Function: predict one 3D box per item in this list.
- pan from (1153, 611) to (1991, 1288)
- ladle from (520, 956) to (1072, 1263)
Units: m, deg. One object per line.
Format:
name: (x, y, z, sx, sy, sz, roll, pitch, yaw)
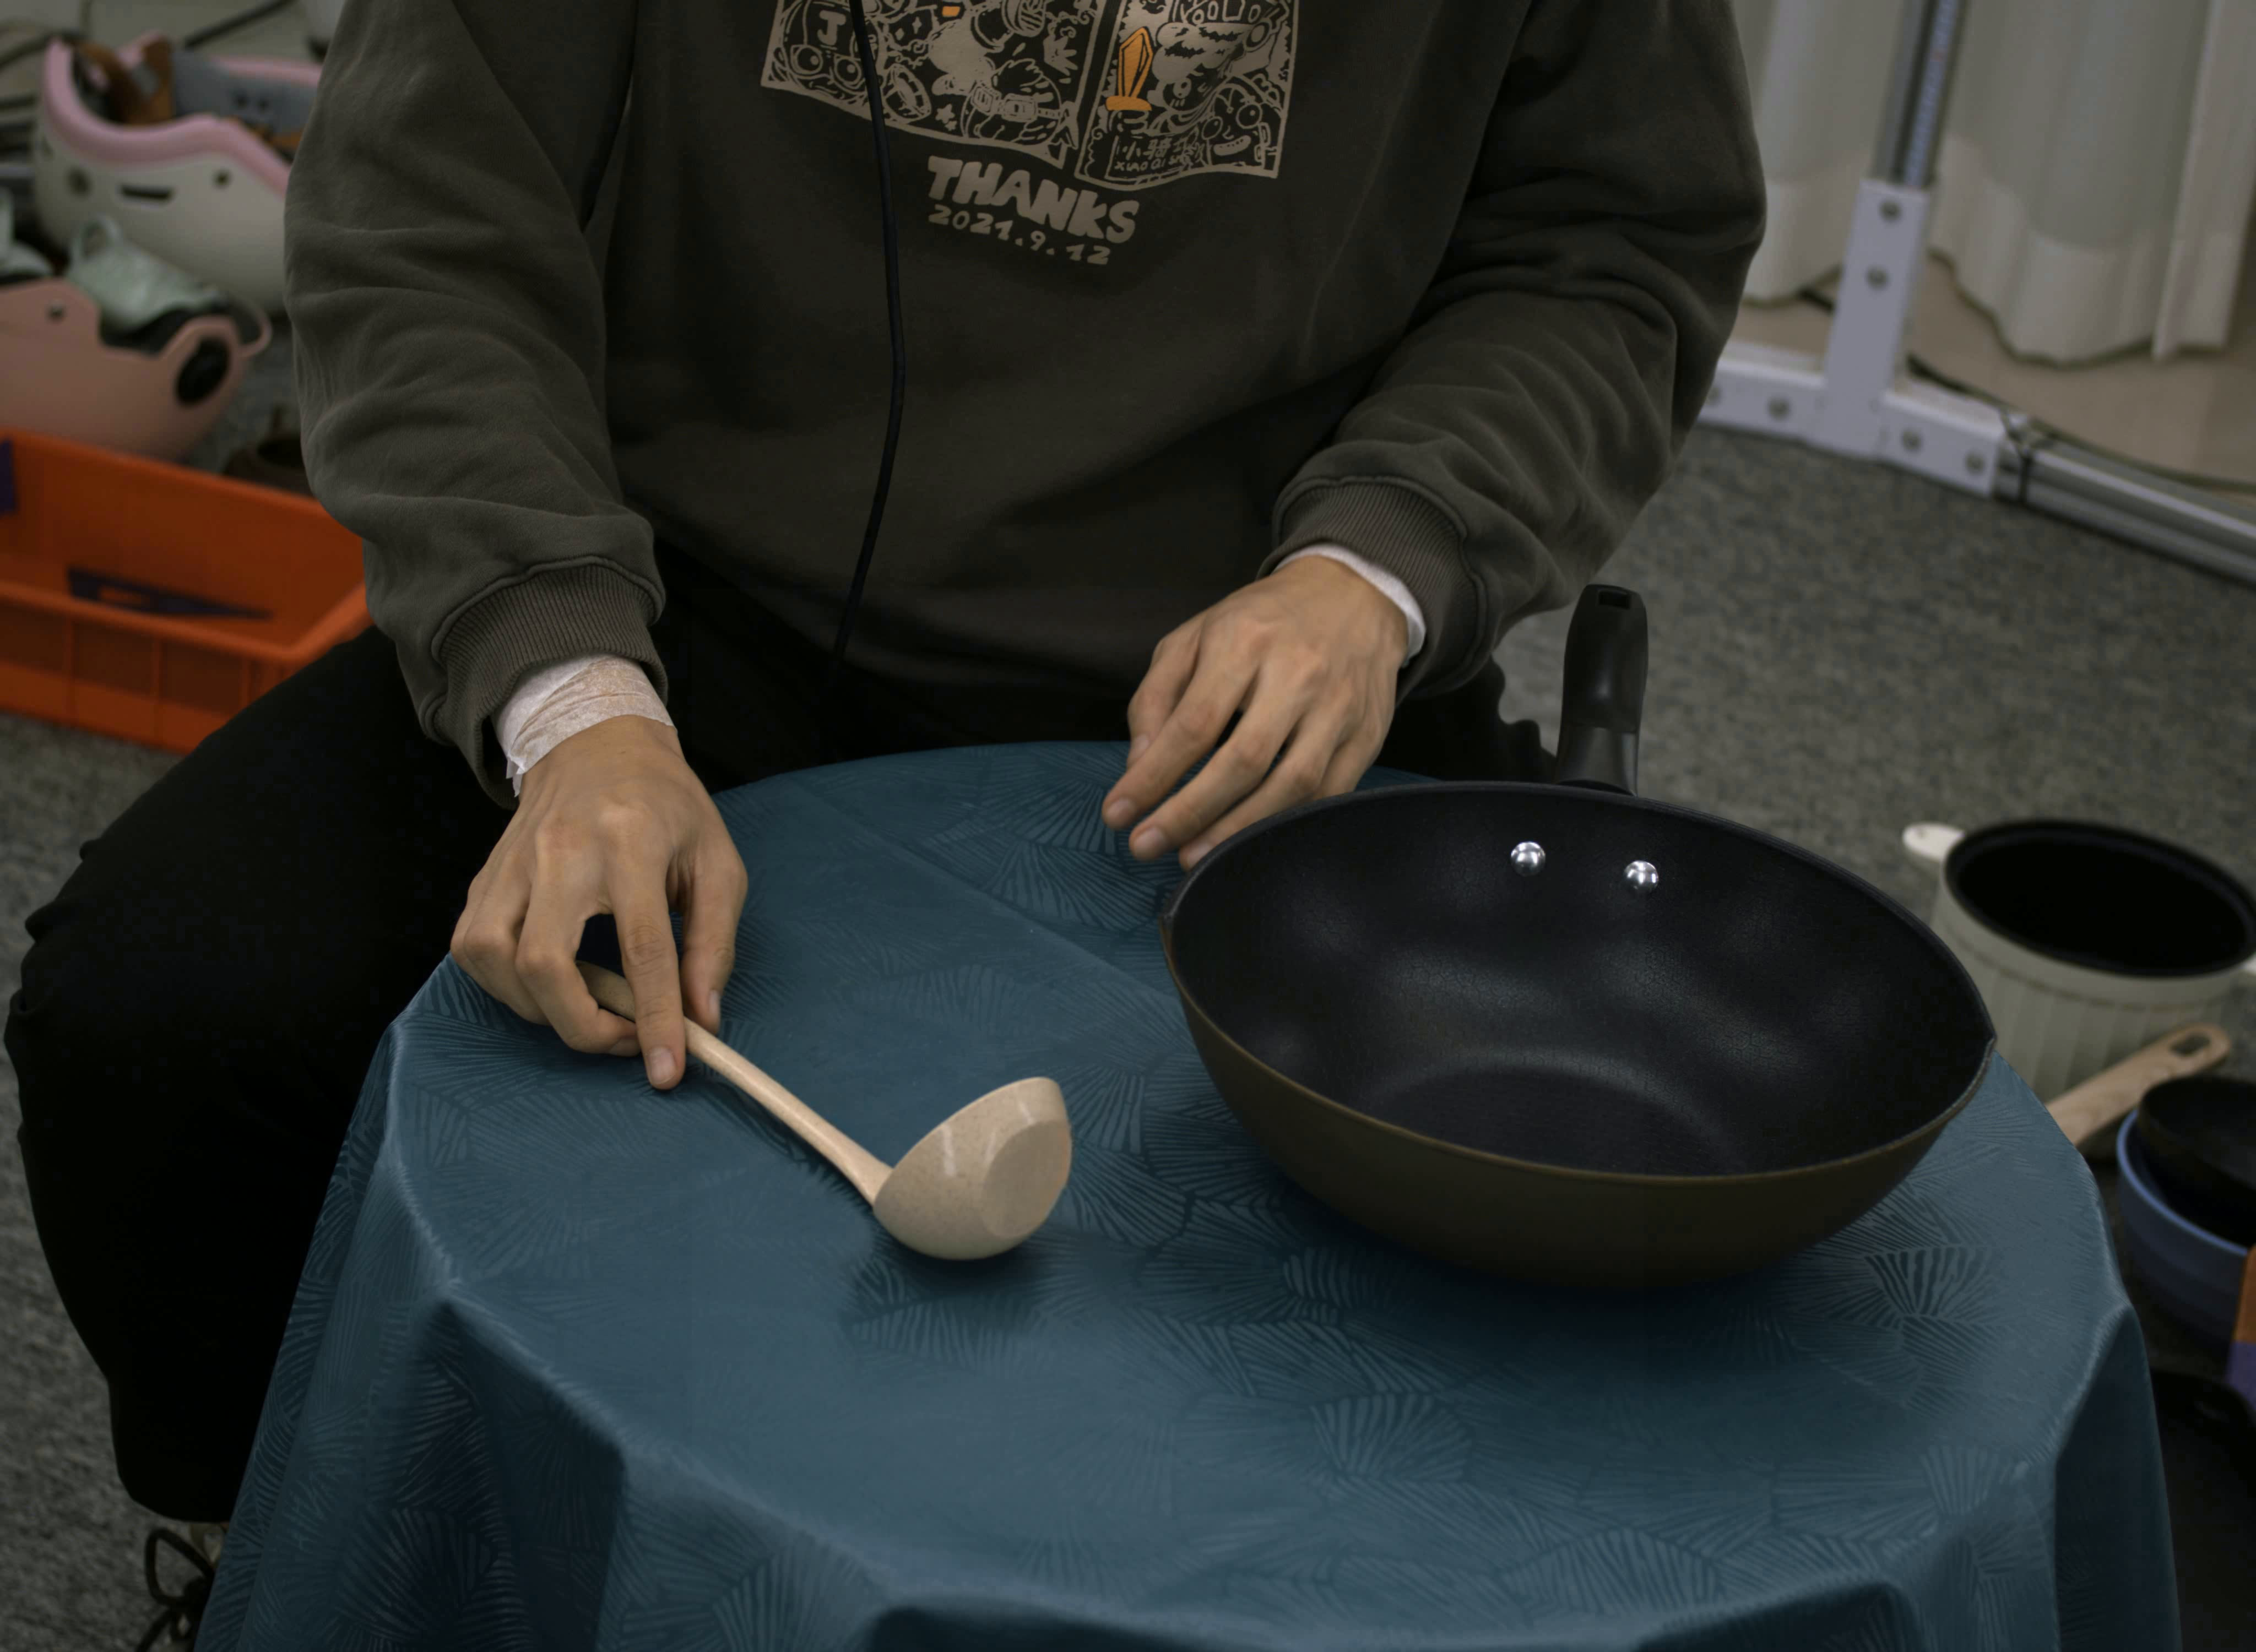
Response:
pan: (0.158, 0.044, 1.906, 0.288, 0.086, 0.465, 8, 26, 4)
ladle: (-0.121, 0.069, 1.803, 0.072, 0.072, 0.256, -20, 38, -41)
